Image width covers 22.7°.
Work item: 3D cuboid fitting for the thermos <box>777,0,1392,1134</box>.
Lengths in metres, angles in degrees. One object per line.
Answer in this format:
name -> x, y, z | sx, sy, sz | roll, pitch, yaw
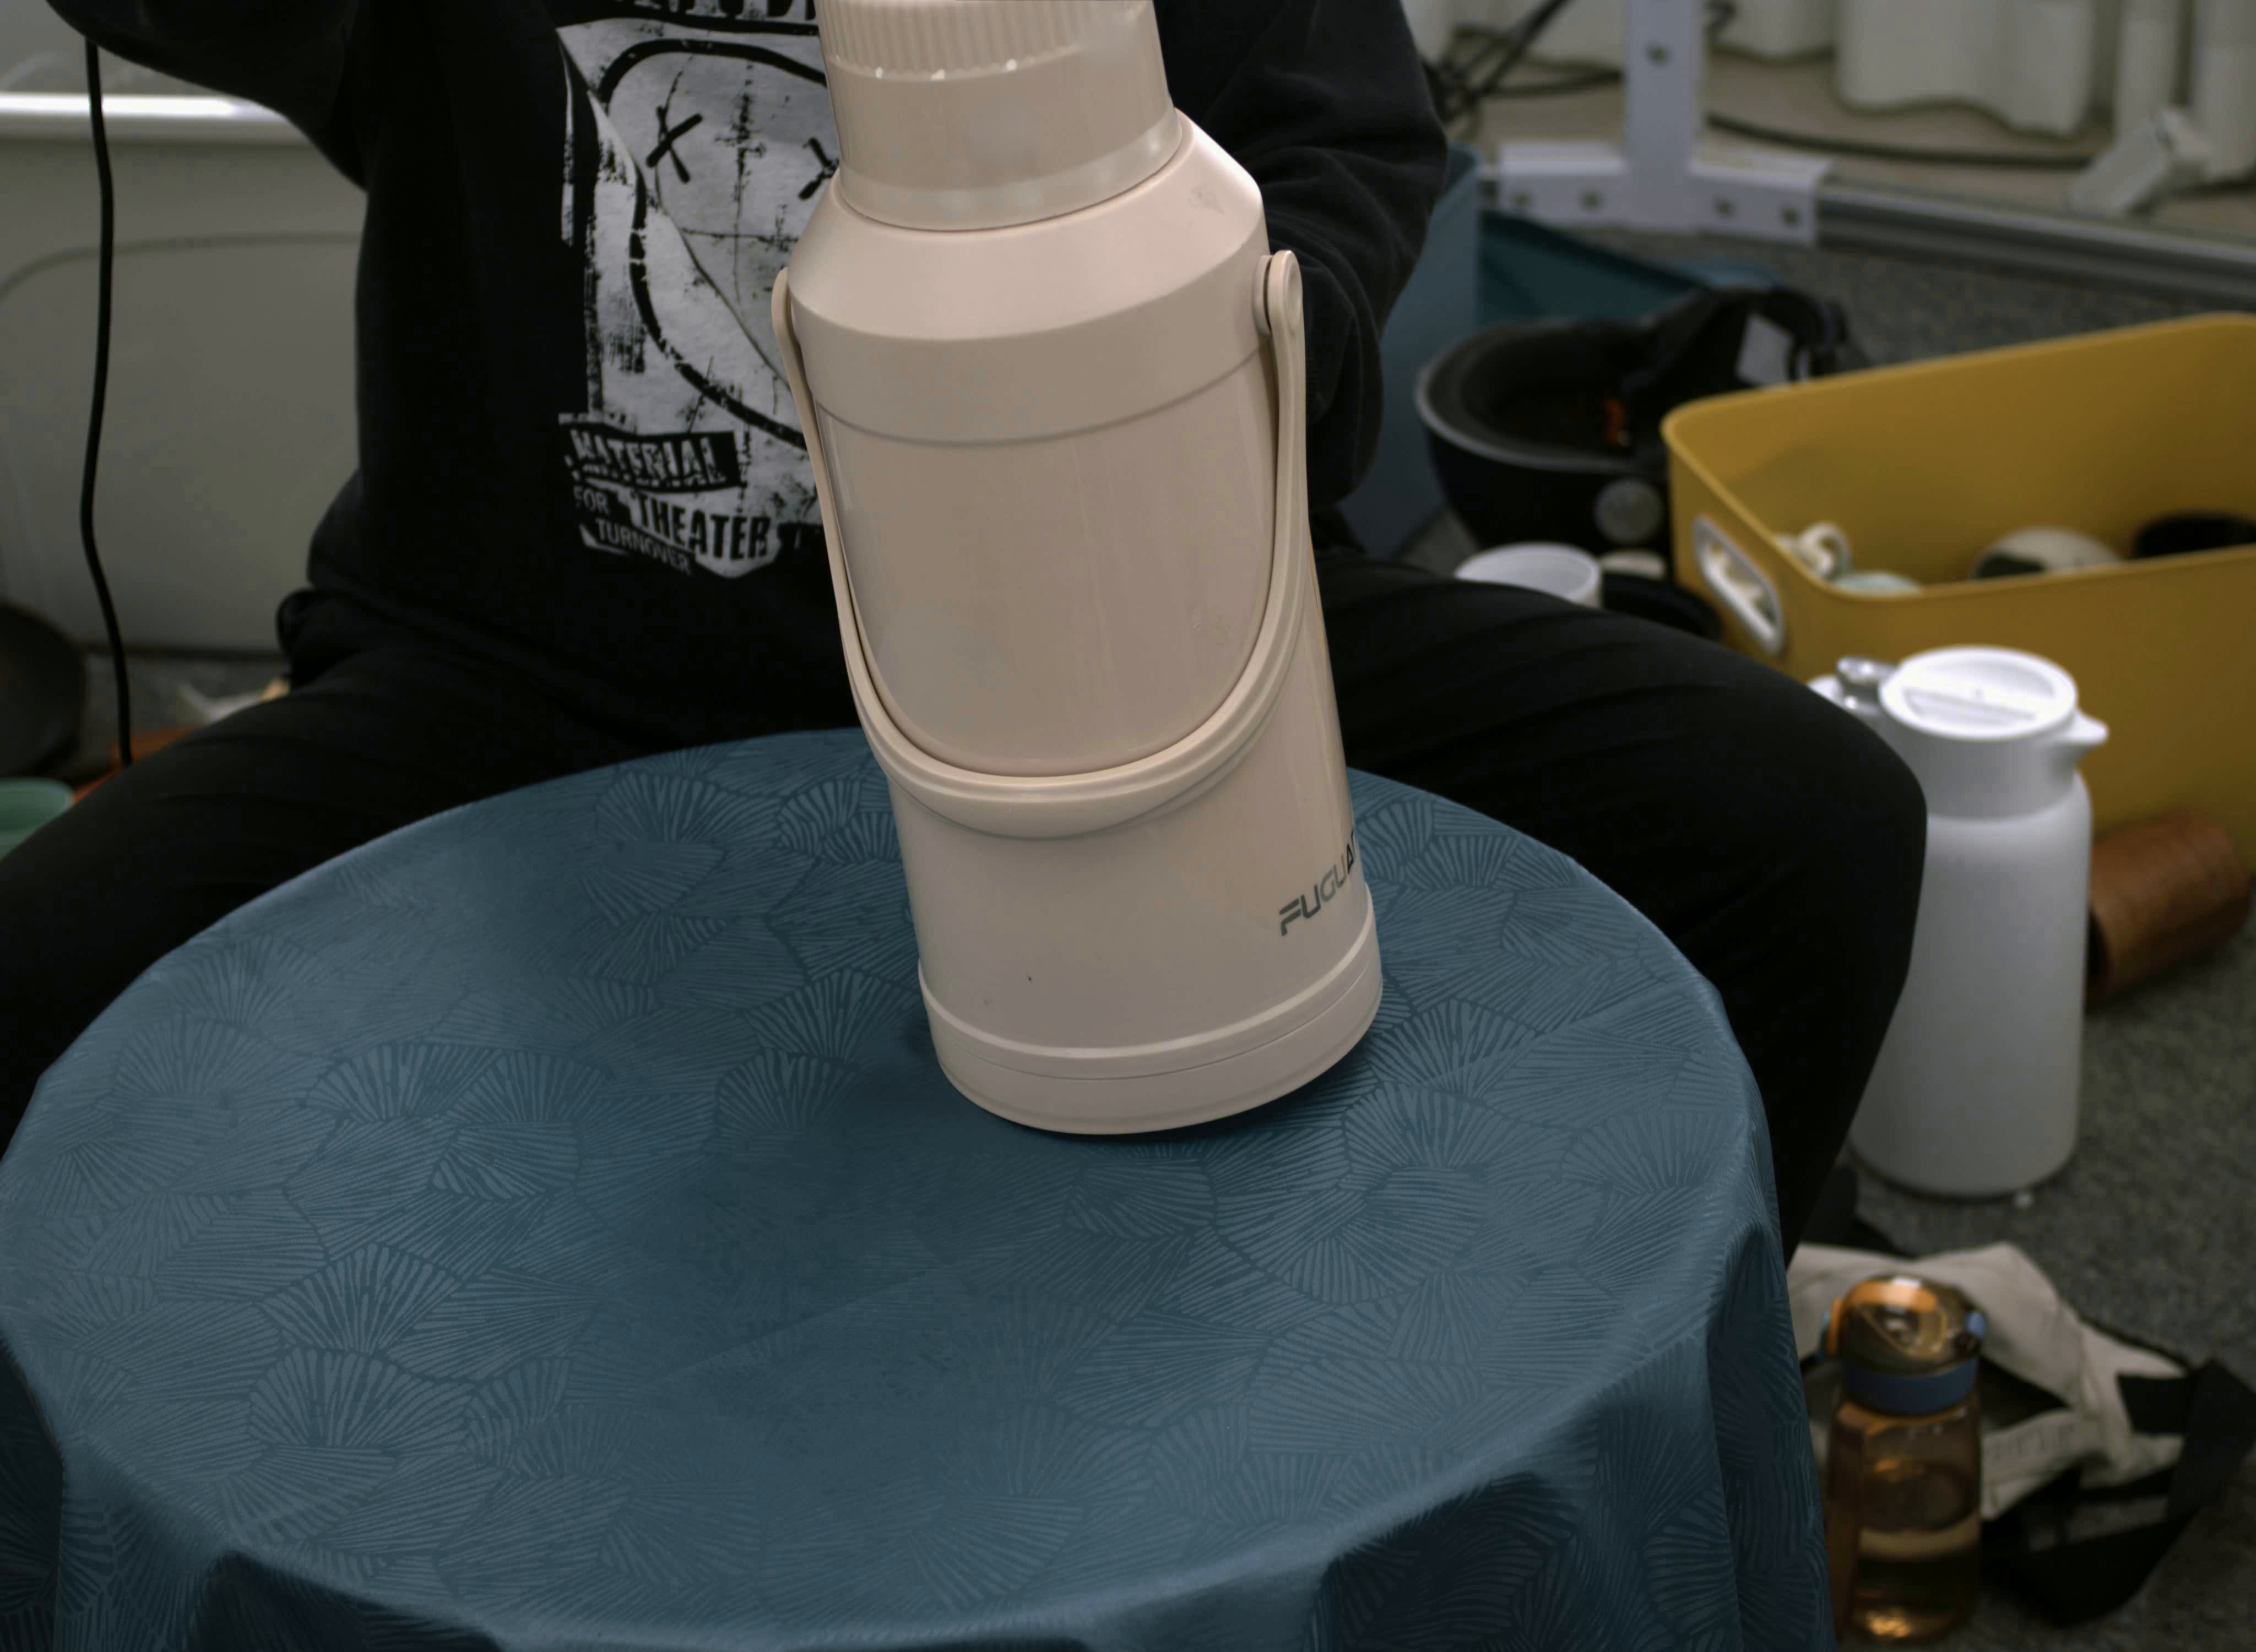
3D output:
thermos -> -0.012, -0.114, 1.876 | 0.174, 0.402, 0.211 | -3, 28, 17
